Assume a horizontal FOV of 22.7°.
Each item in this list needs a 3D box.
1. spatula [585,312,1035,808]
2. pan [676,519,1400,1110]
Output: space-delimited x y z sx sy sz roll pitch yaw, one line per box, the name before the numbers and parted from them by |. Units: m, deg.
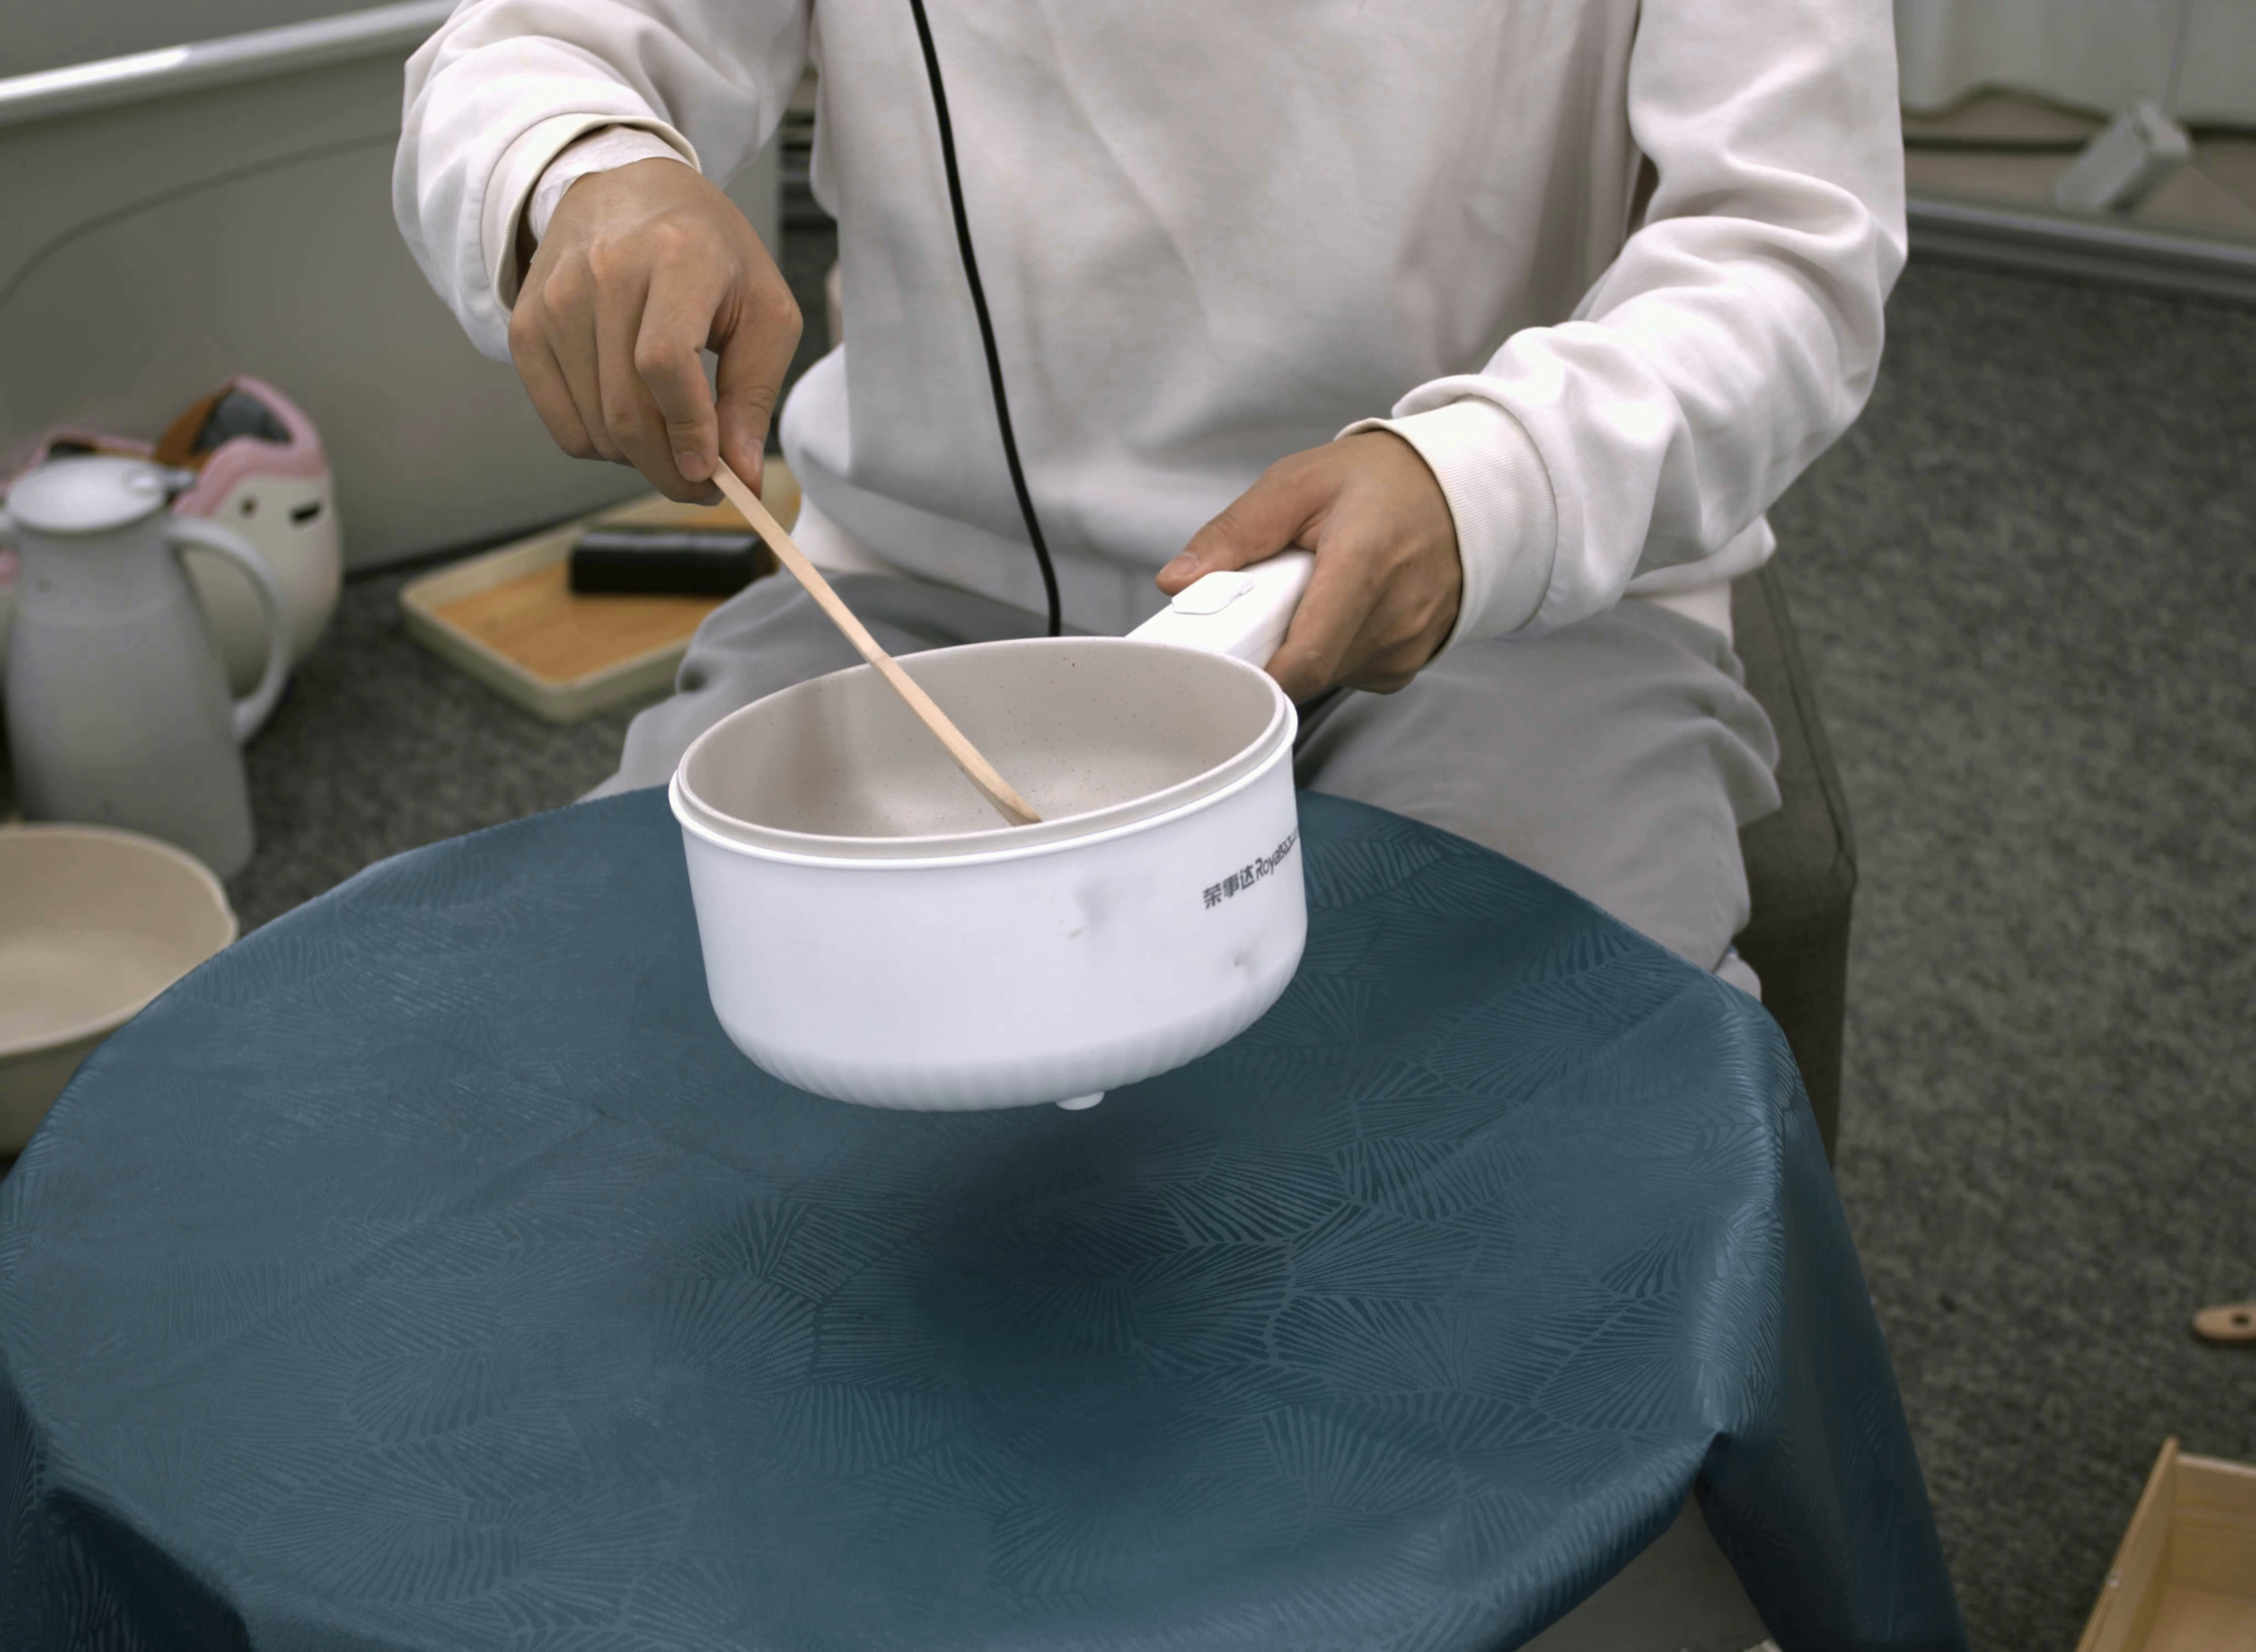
spatula | -0.101 -0.080 1.852 0.010 0.071 0.295 -42 57 0
pan | -0.003 -0.007 1.862 0.199 0.101 0.360 3 20 29
